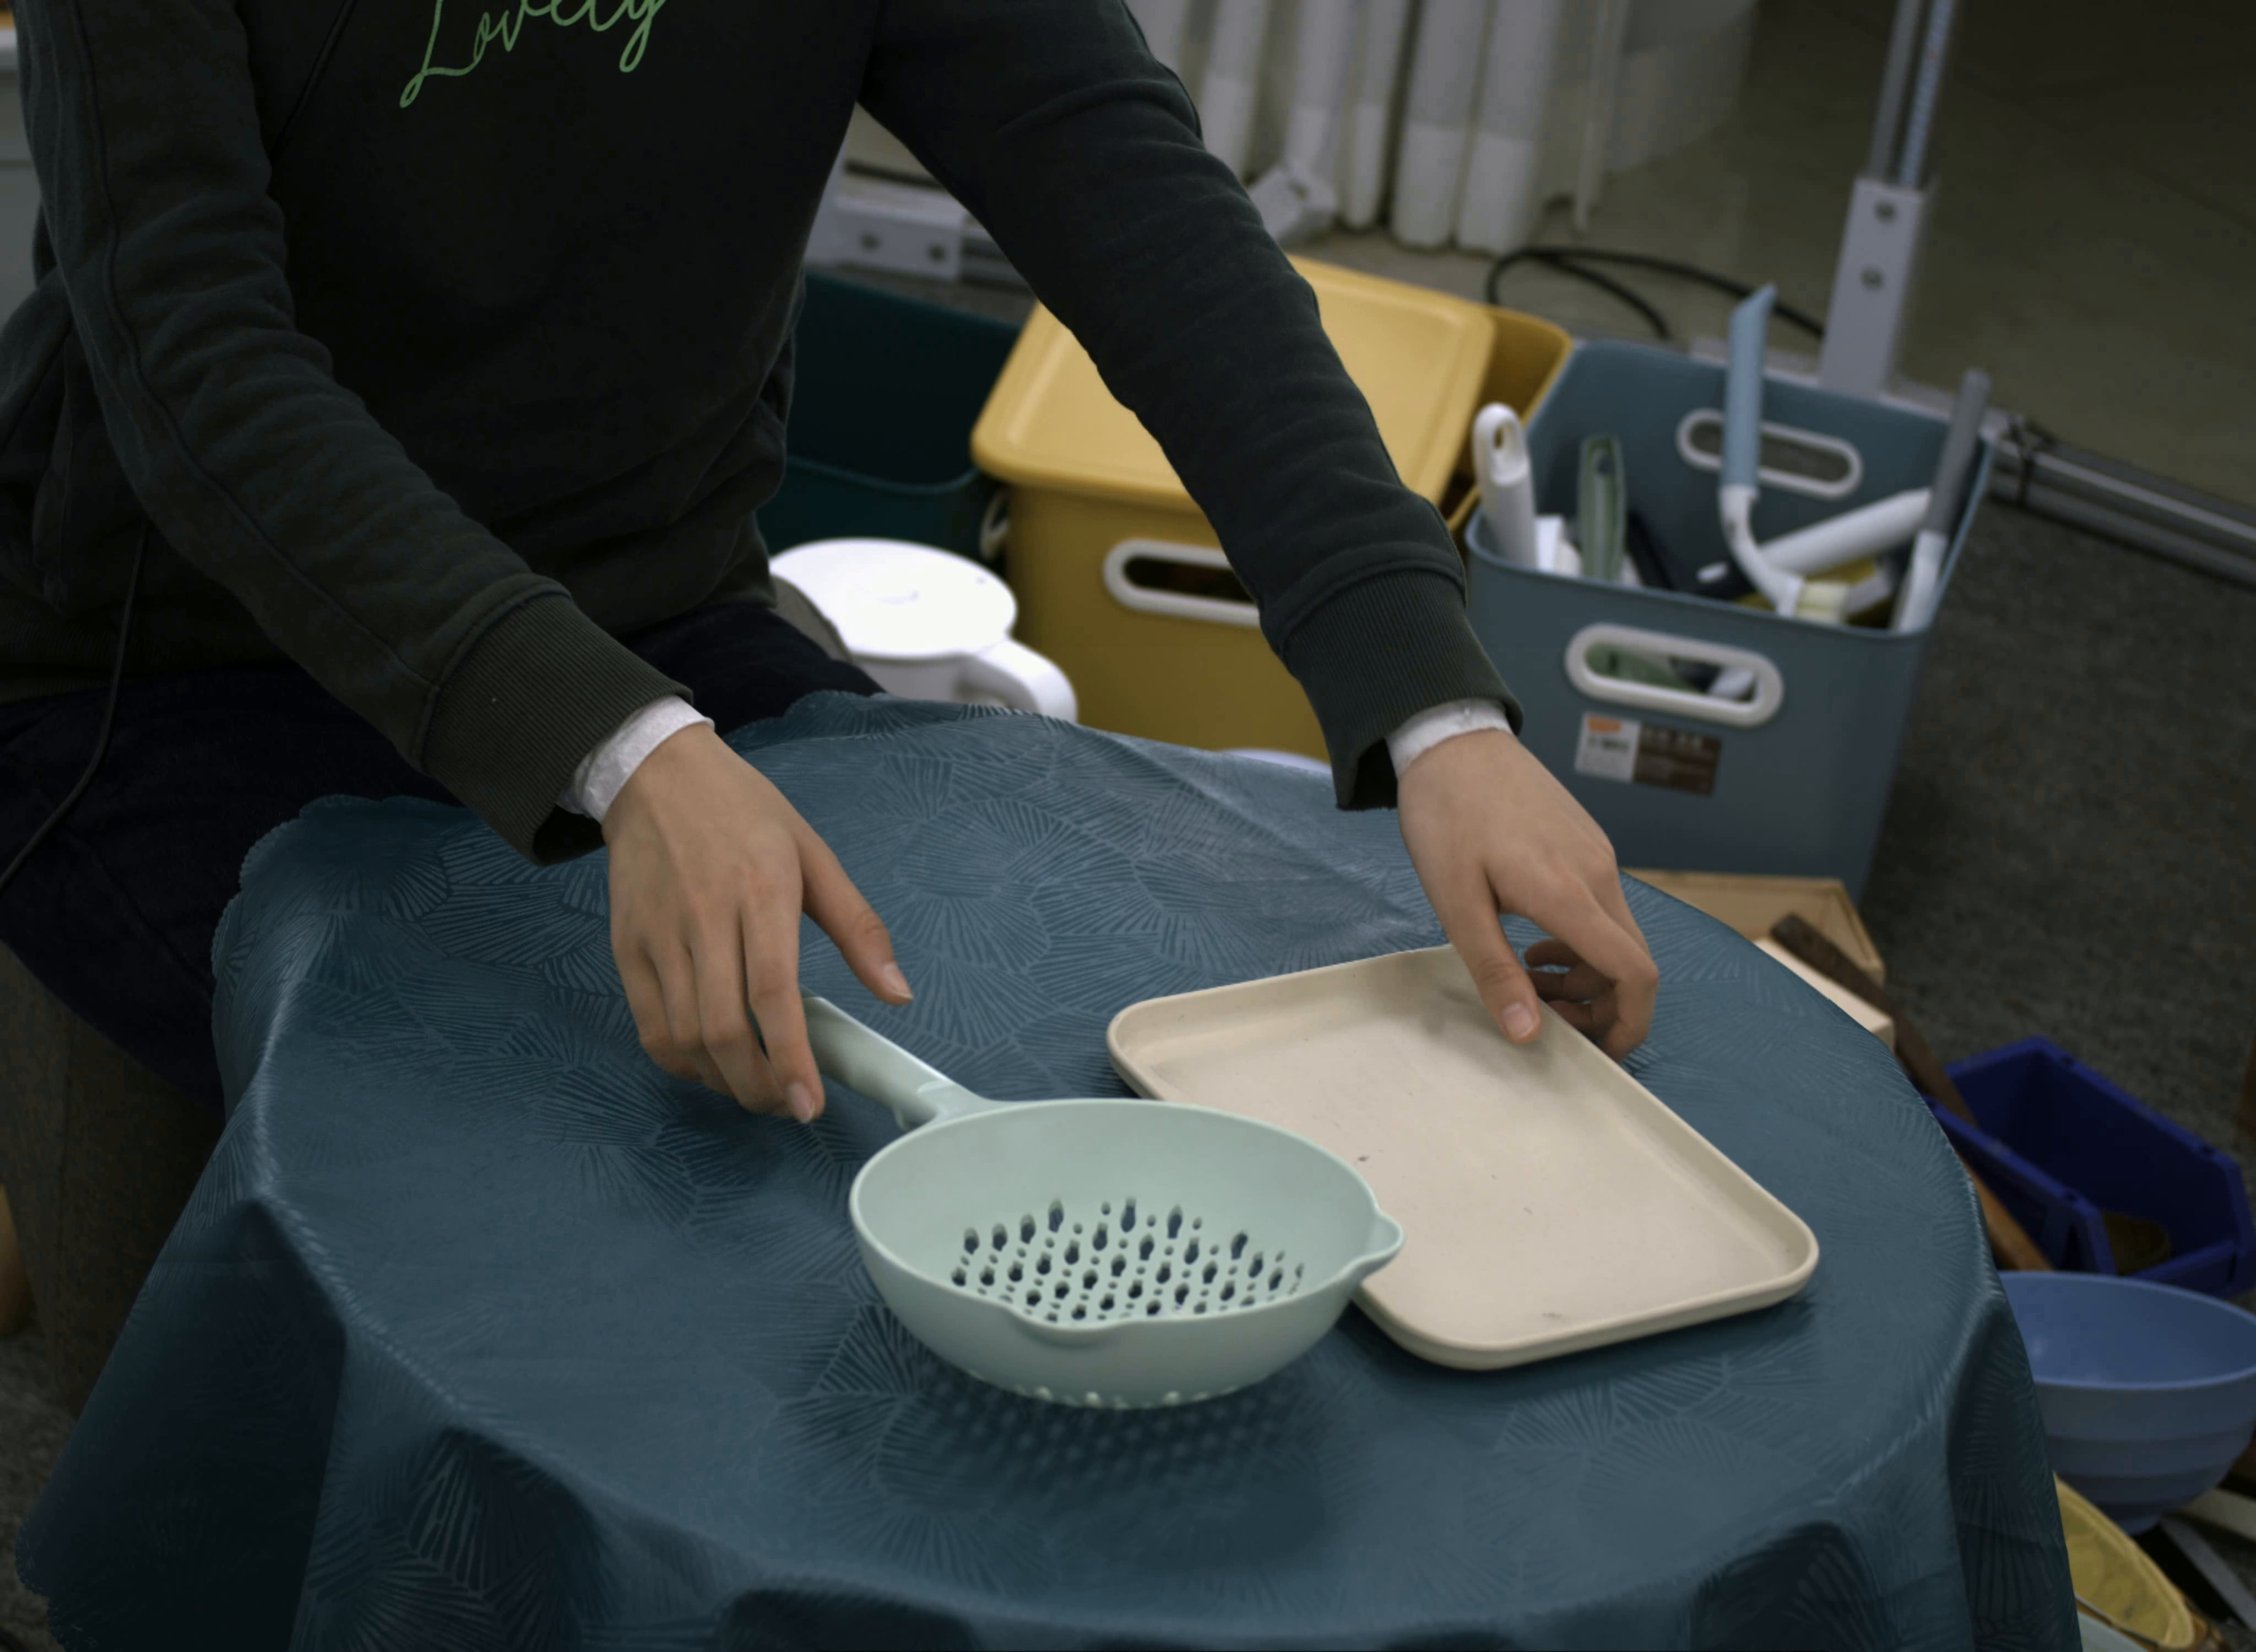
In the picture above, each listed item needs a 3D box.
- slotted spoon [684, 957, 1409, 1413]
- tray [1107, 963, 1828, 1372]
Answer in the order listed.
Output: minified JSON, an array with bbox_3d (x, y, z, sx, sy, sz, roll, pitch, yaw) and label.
[{"bbox_3d":[-0.057,0.102,1.760,0.168,0.075,0.362,-10,30,-31],"label":"slotted spoon"},{"bbox_3d":[0.113,0.115,1.825,0.170,0.017,0.242,-9,30,-29],"label":"tray"}]
